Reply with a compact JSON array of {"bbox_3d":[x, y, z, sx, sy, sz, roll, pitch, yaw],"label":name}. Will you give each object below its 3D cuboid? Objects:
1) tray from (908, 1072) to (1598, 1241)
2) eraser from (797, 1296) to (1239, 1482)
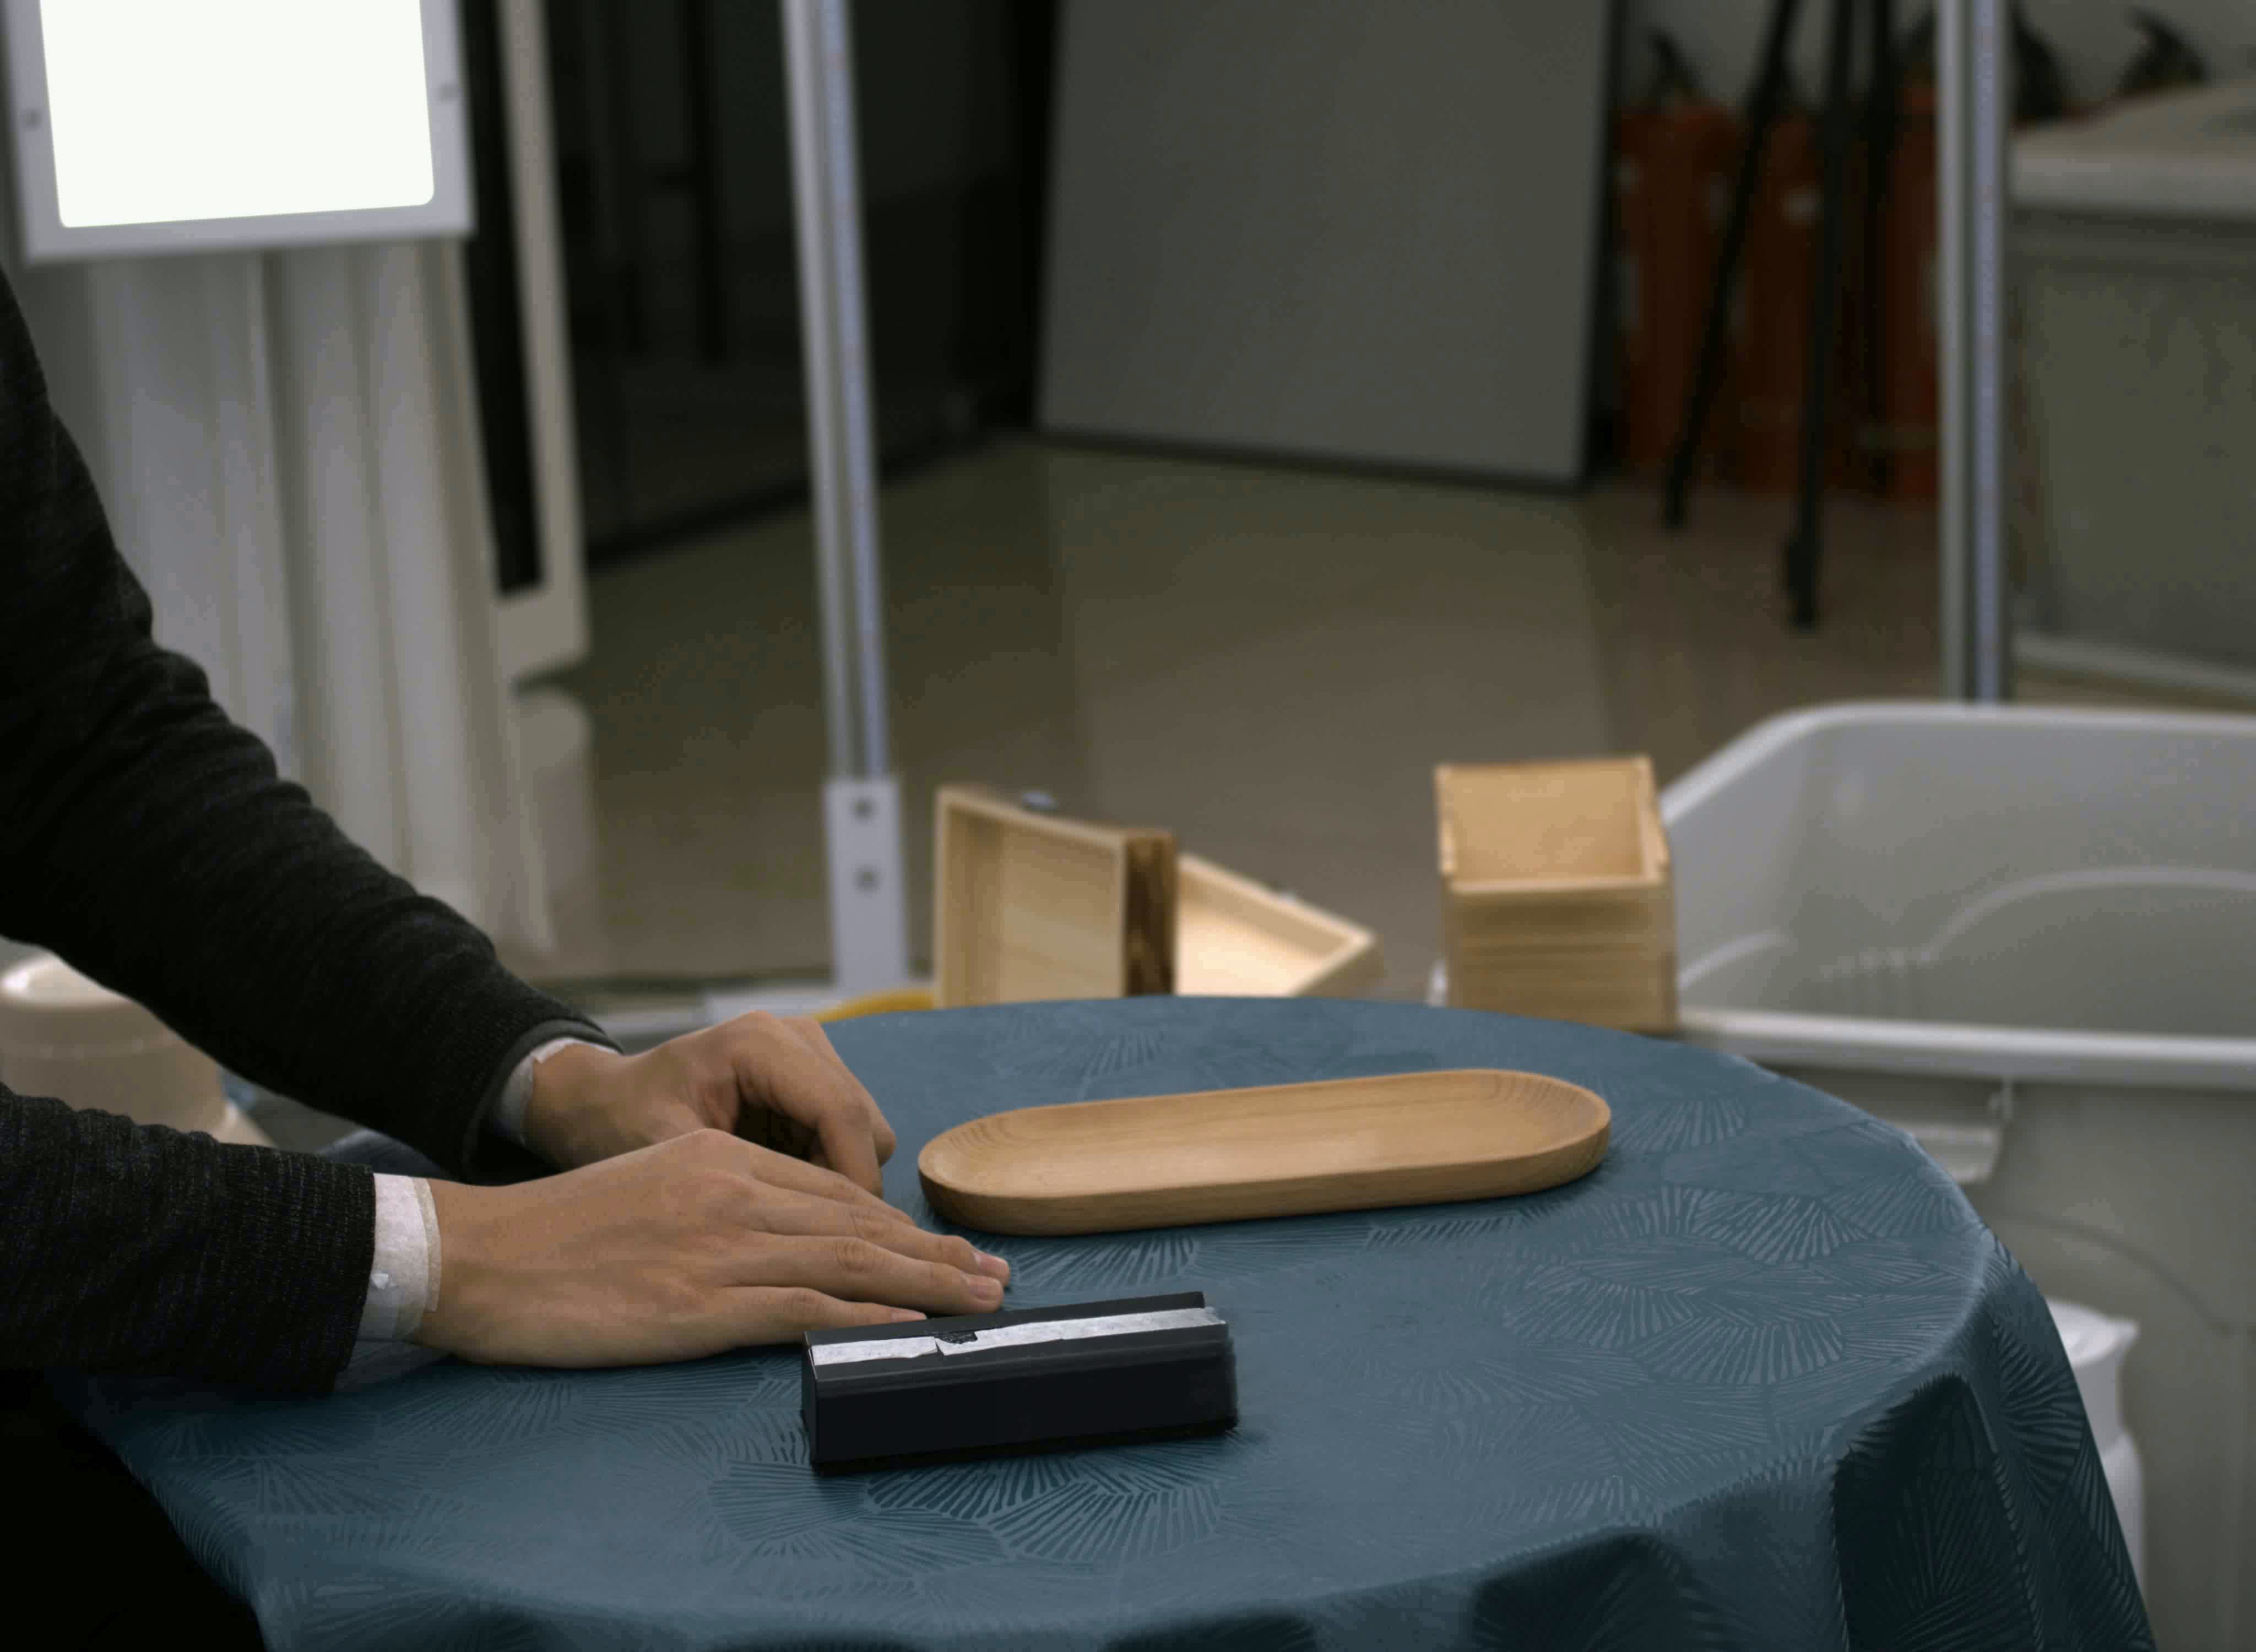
[{"bbox_3d":[0.042,0.109,1.772,0.228,0.020,0.102,-7,12,-4],"label":"tray"},{"bbox_3d":[-0.031,0.161,1.556,0.123,0.031,0.054,-7,11,-6],"label":"eraser"}]
